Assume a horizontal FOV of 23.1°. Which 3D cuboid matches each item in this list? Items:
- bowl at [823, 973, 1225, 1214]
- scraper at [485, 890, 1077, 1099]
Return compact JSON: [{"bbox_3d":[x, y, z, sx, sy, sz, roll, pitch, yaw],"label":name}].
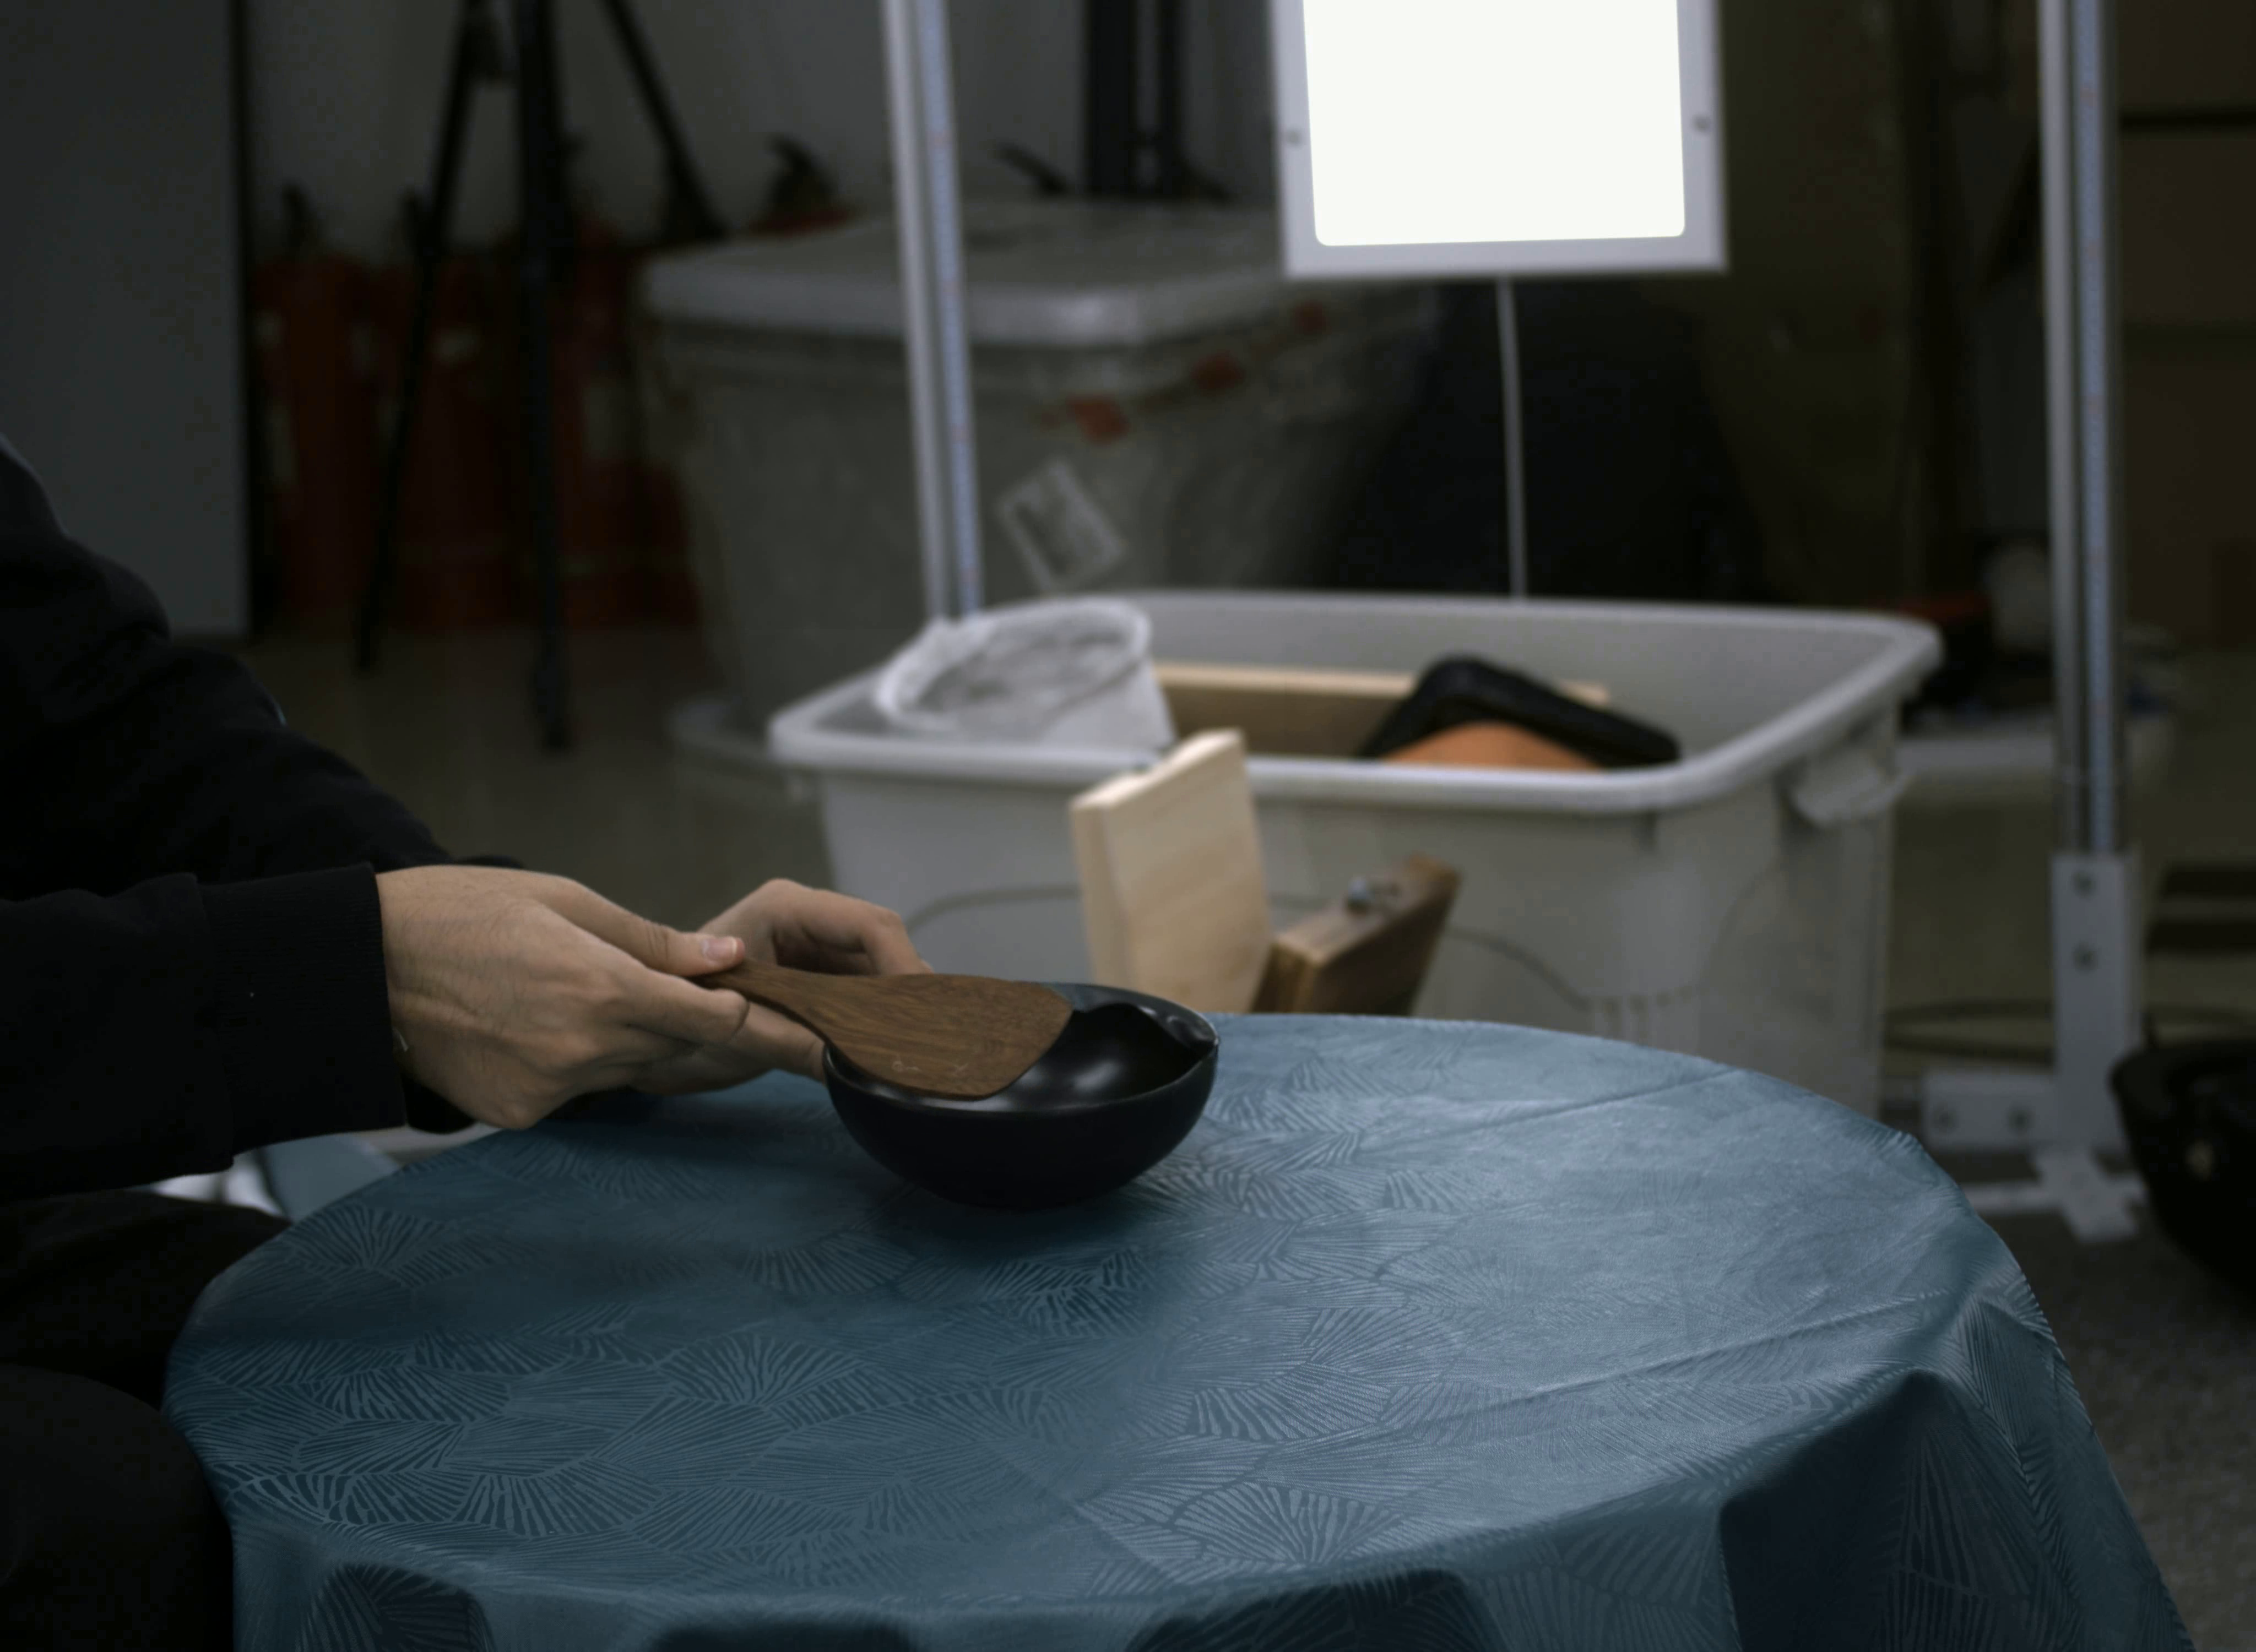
[{"bbox_3d":[-0.035,0.098,1.909,0.139,0.050,0.140,-3,20,0],"label":"bowl"},{"bbox_3d":[-0.121,0.052,1.860,0.214,0.011,0.074,14,33,22],"label":"scraper"}]
